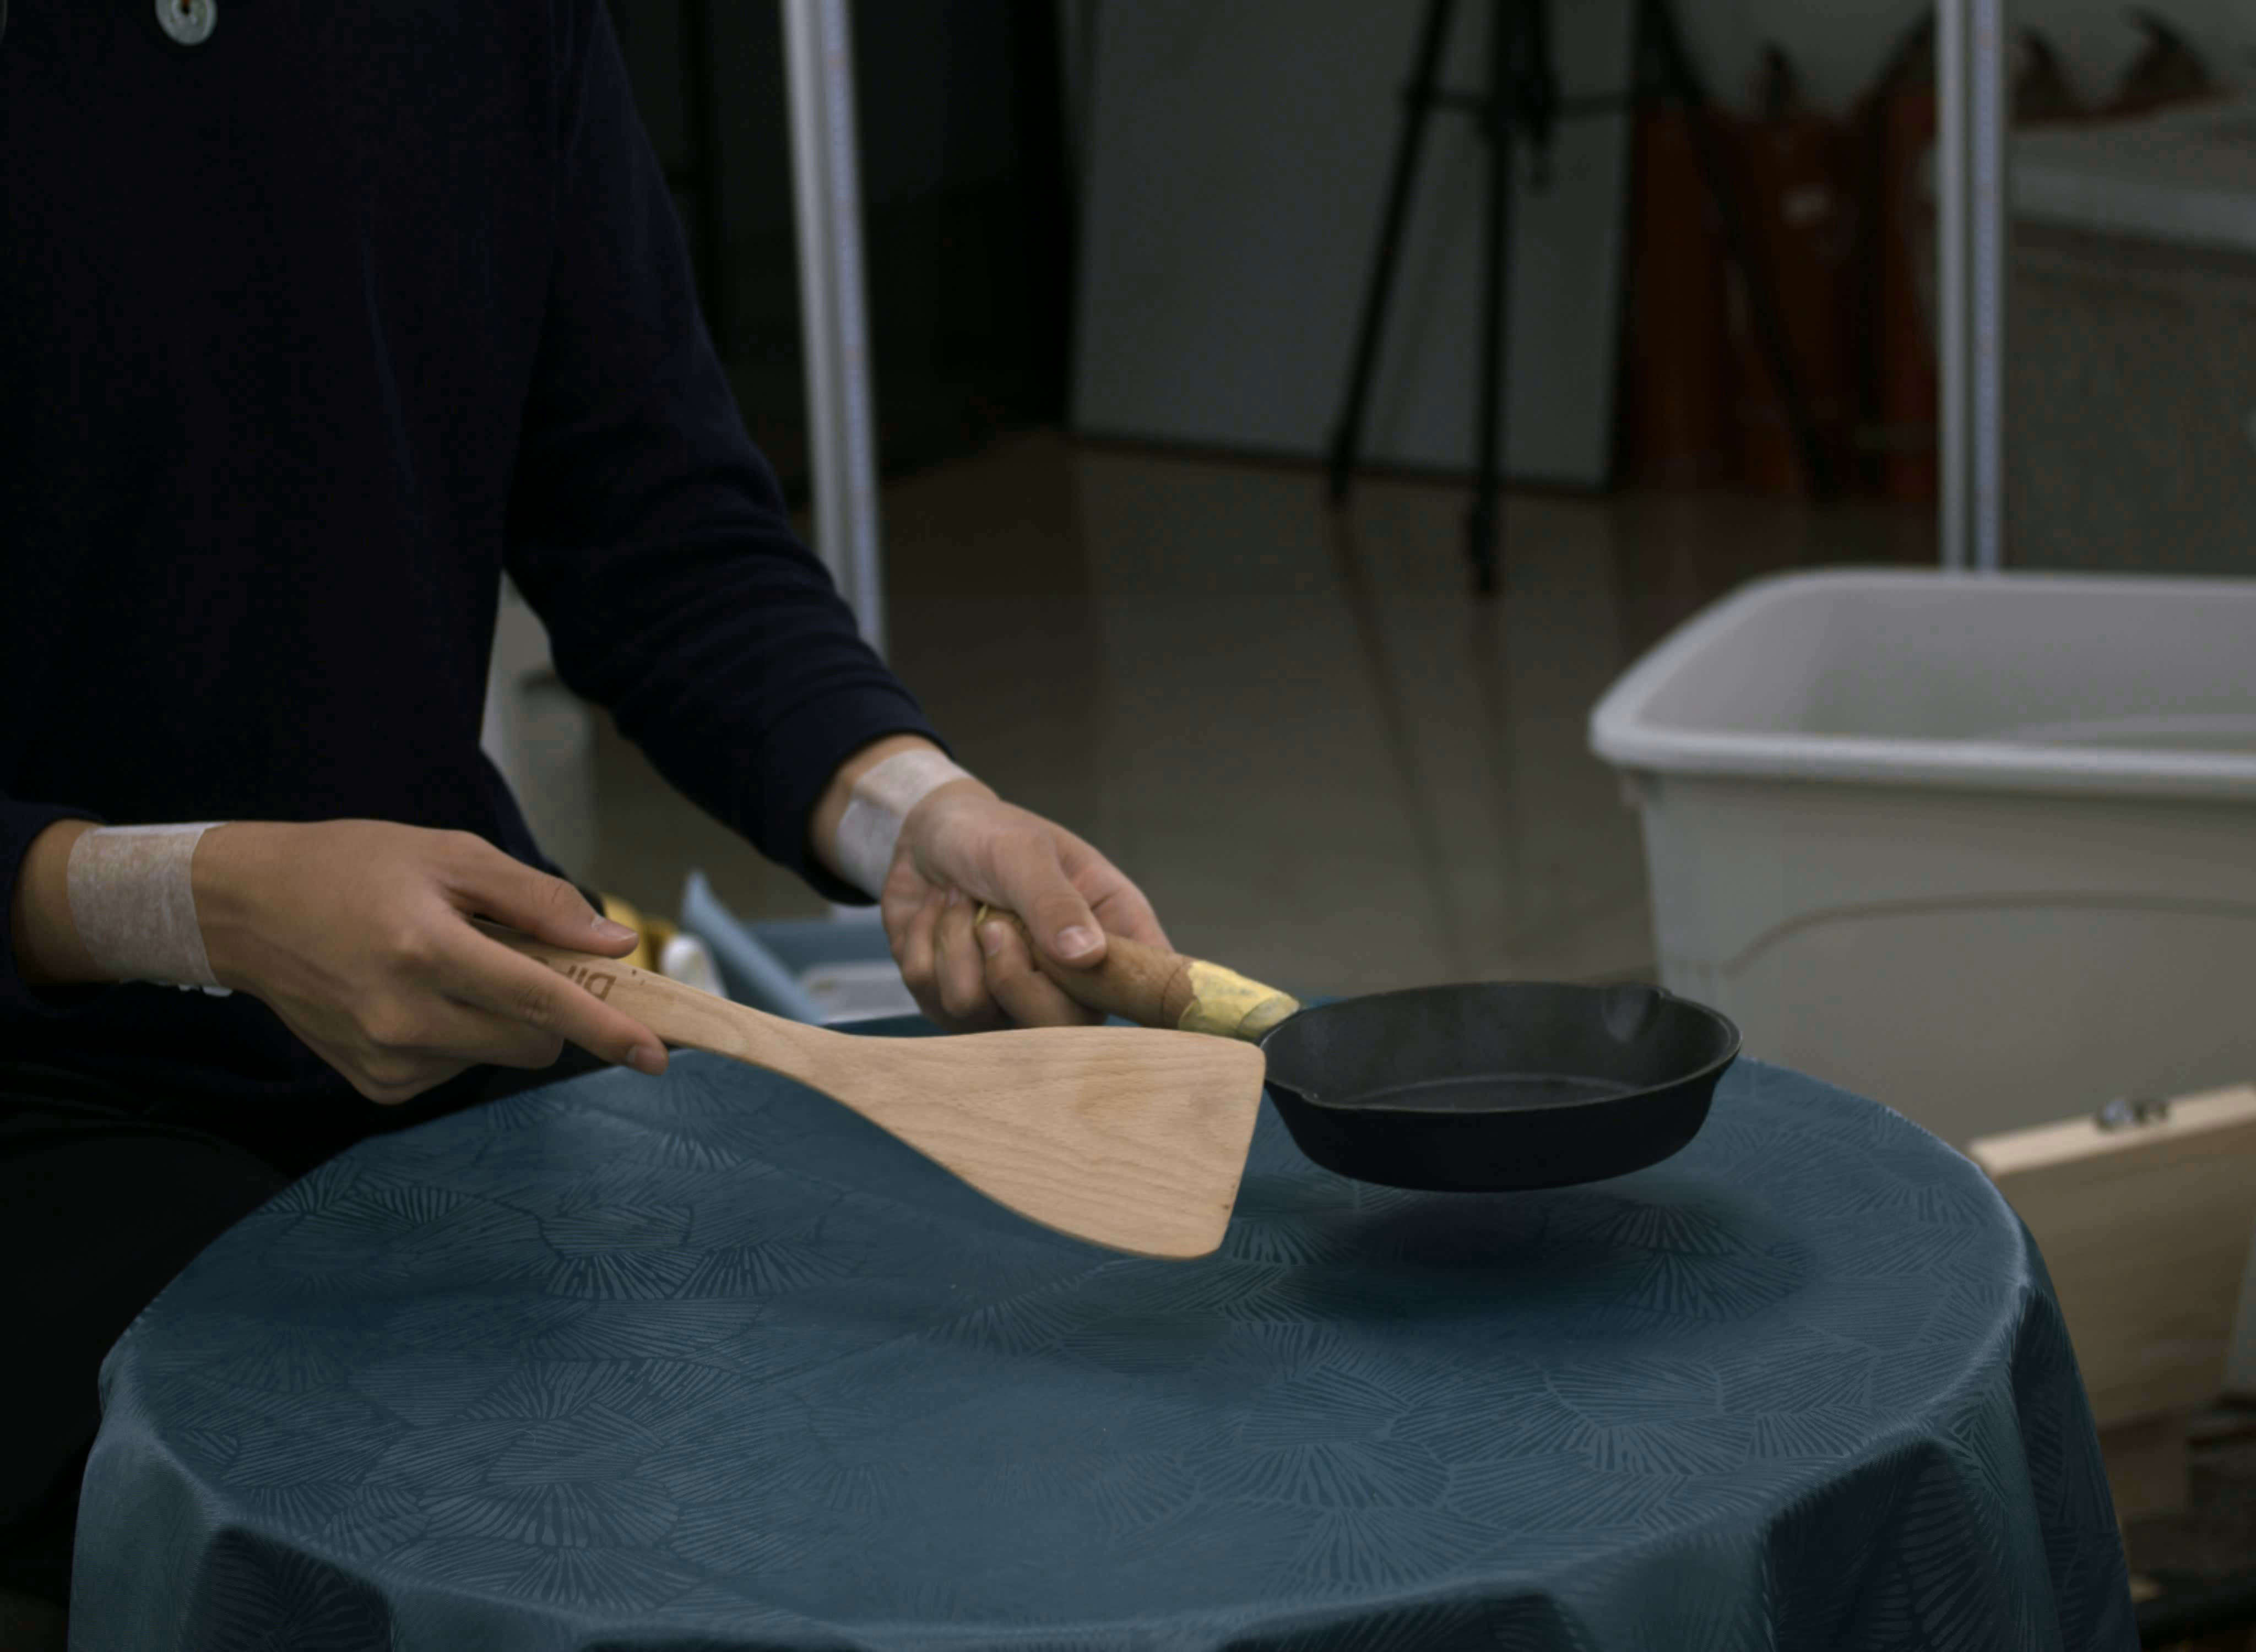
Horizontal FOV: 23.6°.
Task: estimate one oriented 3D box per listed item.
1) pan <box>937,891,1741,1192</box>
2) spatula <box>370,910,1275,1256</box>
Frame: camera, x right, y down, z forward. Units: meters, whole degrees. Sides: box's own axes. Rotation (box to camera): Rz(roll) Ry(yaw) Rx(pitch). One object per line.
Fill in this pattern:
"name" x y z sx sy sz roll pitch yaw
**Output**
"pan" 0.056 0.065 1.755 0.165 0.050 0.327 -15 18 -43
"spatula" -0.100 0.067 1.686 0.328 0.016 0.080 13 61 25
